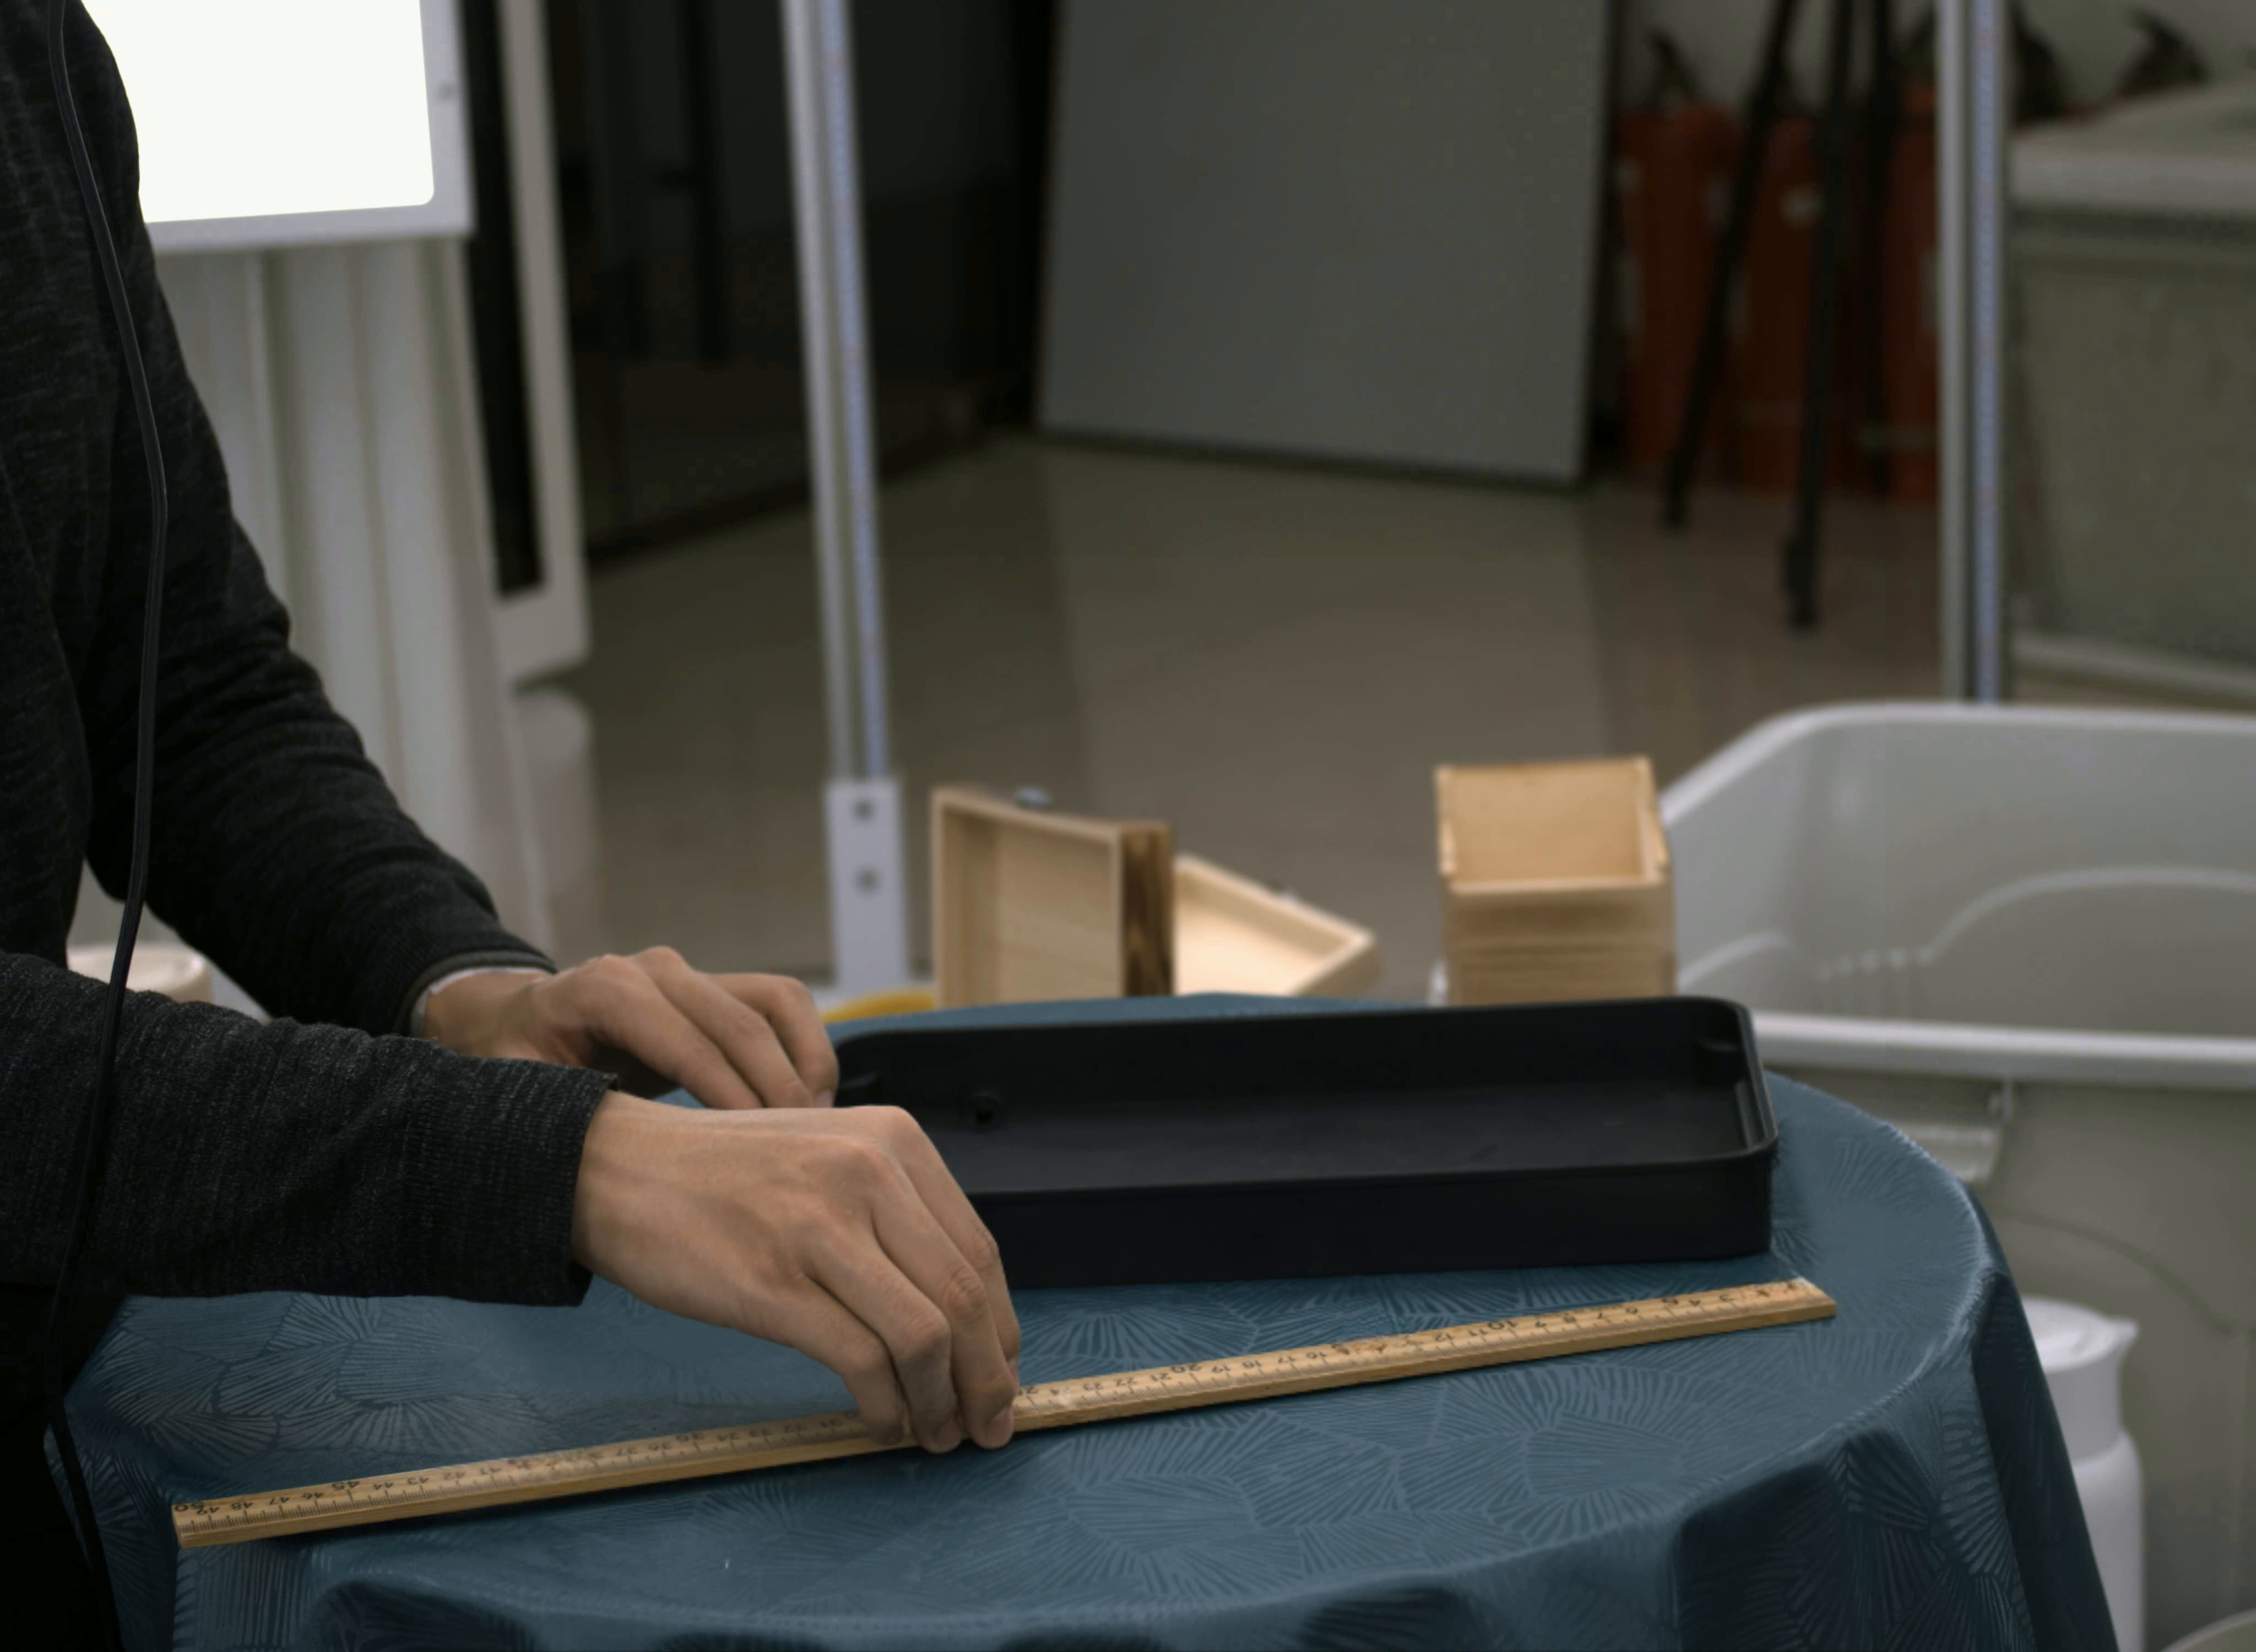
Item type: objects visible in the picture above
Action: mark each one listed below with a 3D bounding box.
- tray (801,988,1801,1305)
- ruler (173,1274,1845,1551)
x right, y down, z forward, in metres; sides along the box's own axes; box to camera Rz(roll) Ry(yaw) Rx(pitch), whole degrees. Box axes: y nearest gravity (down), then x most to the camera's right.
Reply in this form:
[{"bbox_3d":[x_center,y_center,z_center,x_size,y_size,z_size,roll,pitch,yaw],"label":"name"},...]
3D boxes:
[{"bbox_3d":[0.057,0.102,1.755,0.314,0.037,0.184,-4,13,4],"label":"tray"},{"bbox_3d":[-0.027,0.168,1.564,0.491,0.006,0.027,-7,20,-12],"label":"ruler"}]
